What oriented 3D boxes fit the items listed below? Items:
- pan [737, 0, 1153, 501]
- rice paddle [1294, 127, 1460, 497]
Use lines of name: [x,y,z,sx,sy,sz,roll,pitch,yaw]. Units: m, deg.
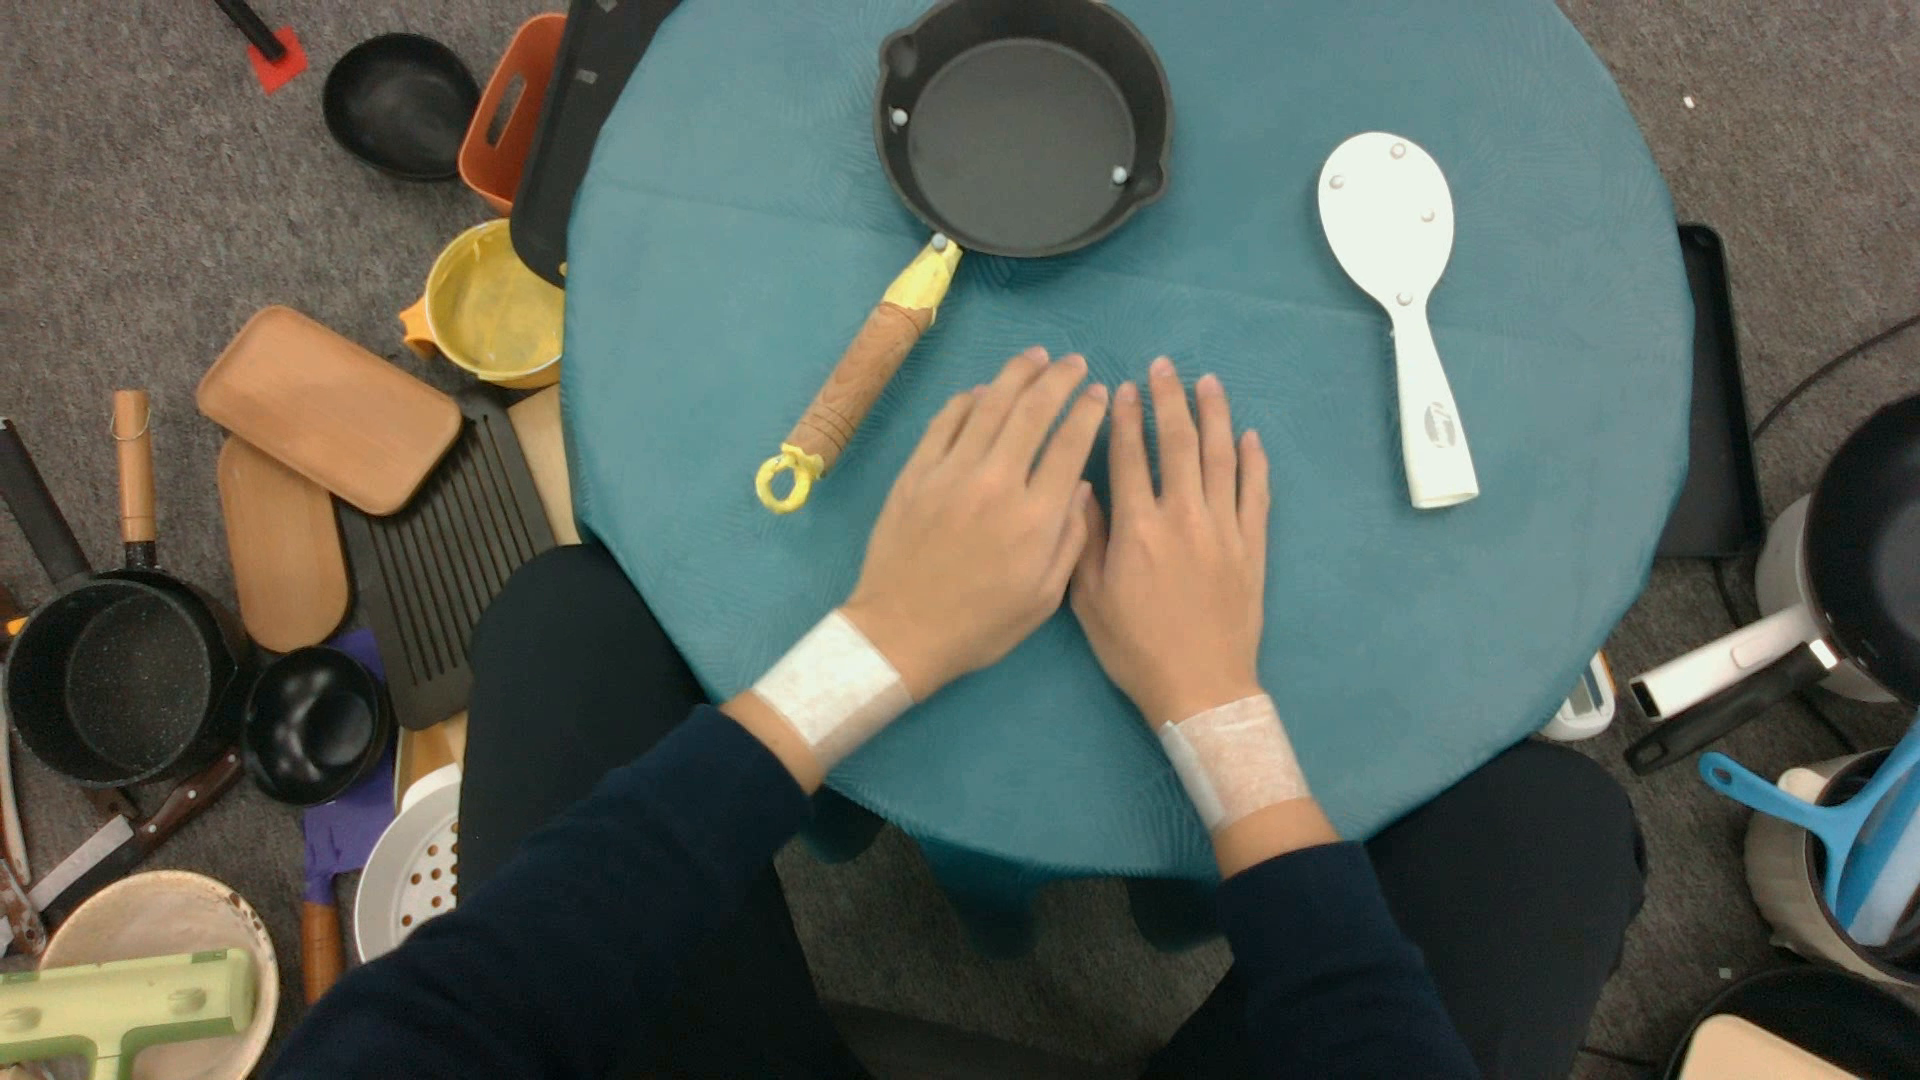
pan: [-0.021,-0.155,0.712,0.169,0.049,0.325,31,77,6]
rice paddle: [0.221,-0.124,0.718,0.069,0.029,0.205,-8,78,-4]
